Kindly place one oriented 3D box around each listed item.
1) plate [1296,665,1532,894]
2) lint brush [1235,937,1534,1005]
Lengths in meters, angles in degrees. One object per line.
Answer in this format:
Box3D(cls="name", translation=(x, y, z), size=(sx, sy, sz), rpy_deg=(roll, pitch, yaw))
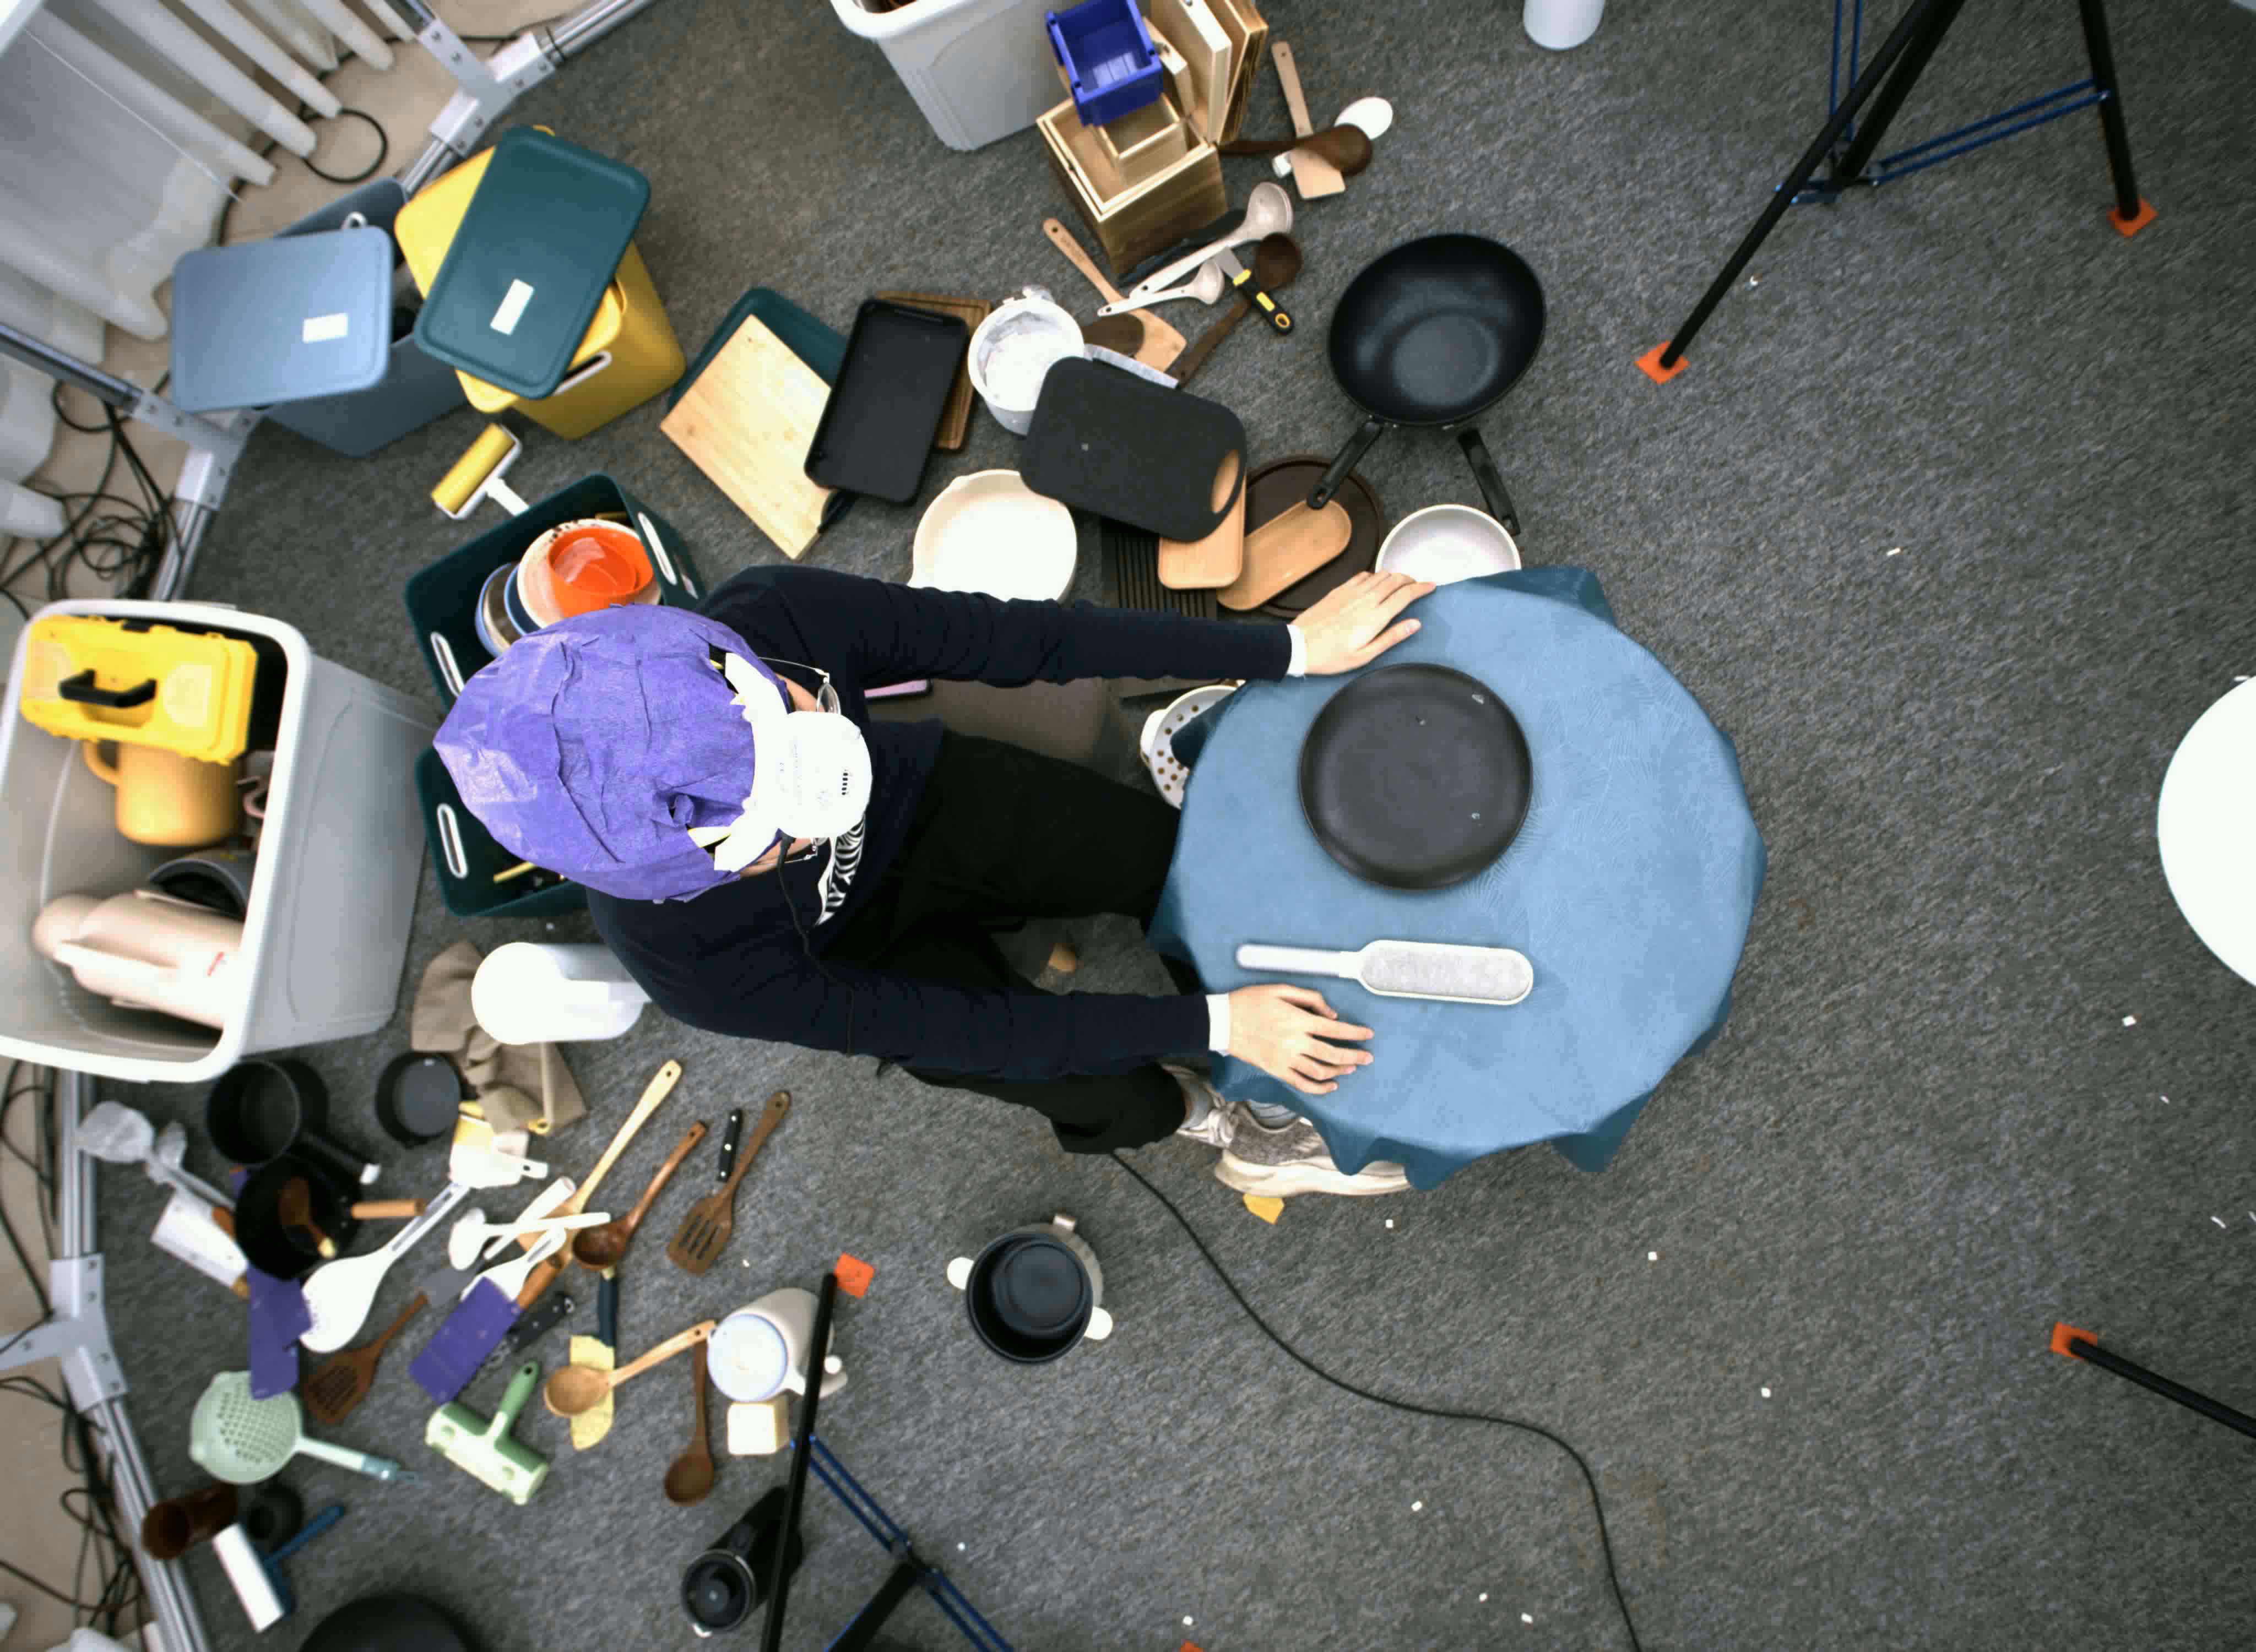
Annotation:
Box3D(cls="plate", translation=(0.300, -0.050, 1.450), size=(0.245, 0.023, 0.243), rpy_deg=(-1, 86, 11))
Box3D(cls="lint brush", translation=(0.265, 0.144, 1.443), size=(0.310, 0.021, 0.060), rpy_deg=(4, 93, 11))
